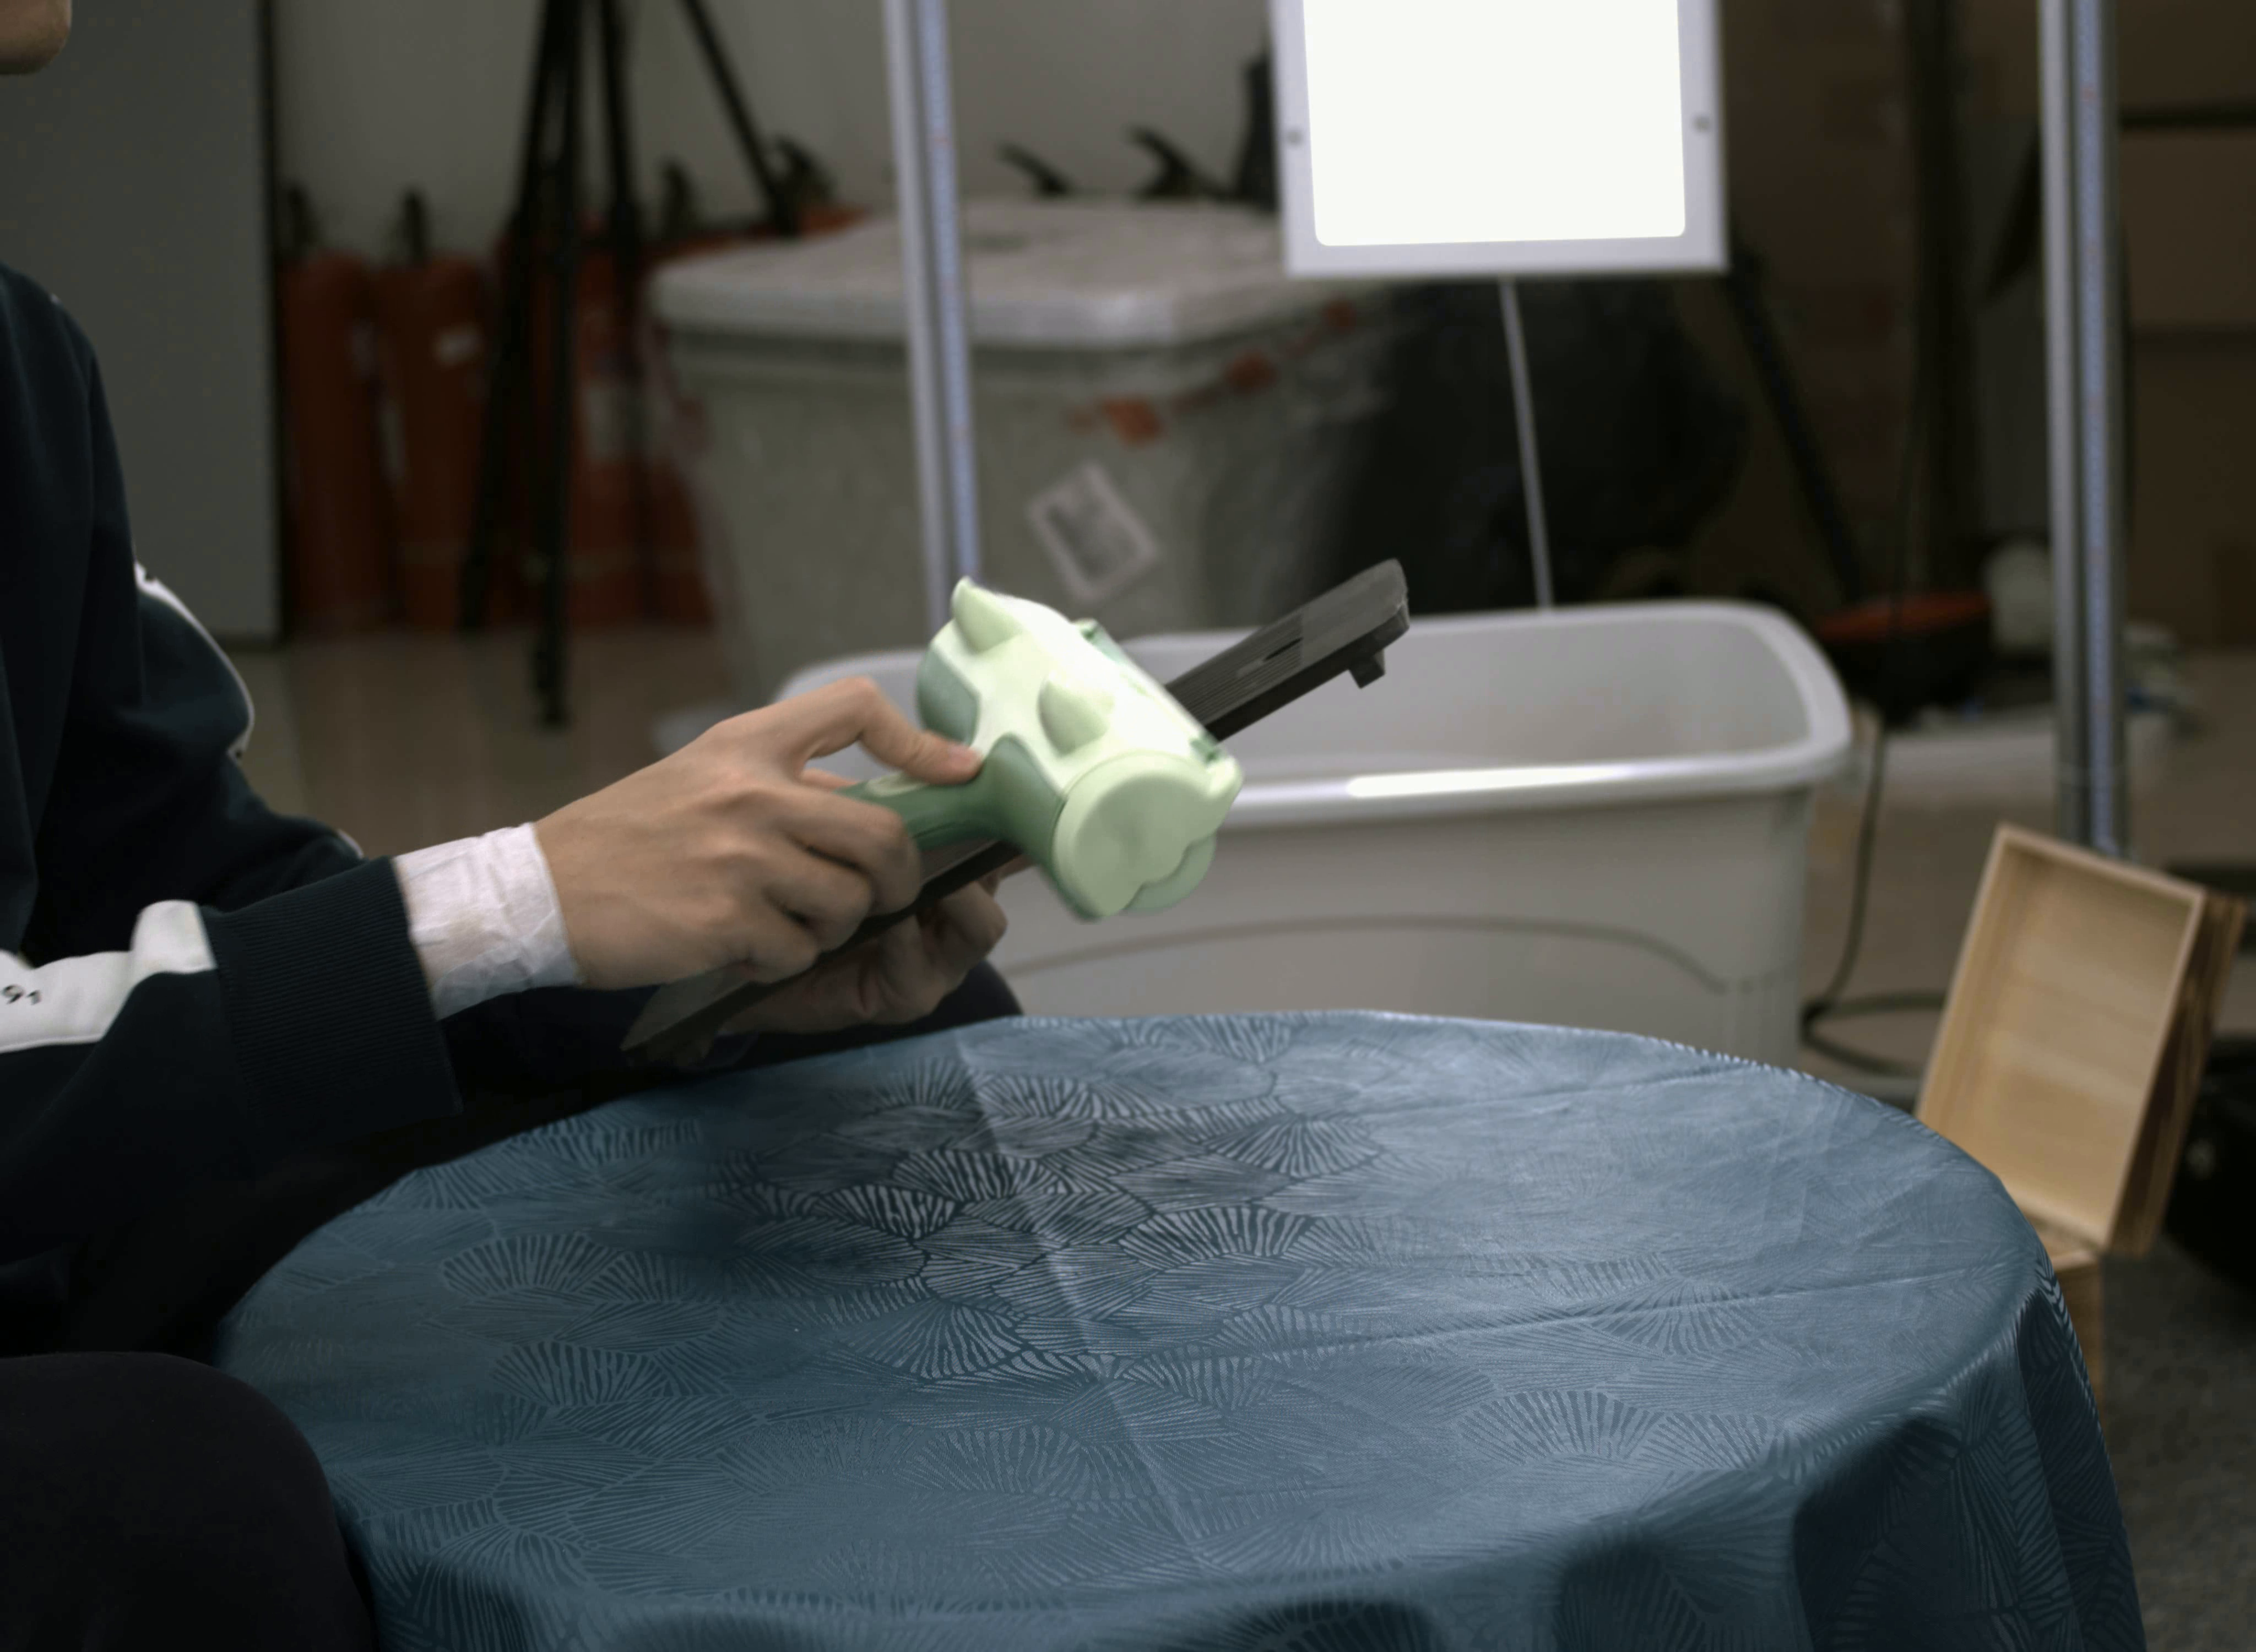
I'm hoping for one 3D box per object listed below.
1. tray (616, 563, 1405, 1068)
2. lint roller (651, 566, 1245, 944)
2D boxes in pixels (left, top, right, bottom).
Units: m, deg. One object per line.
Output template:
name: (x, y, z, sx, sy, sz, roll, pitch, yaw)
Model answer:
tray: (-0.036, -0.003, 1.917, 0.307, 0.018, 0.169, -30, 6, 8)
lint roller: (-0.072, -0.020, 1.786, 0.181, 0.082, 0.200, -15, 21, -9)
